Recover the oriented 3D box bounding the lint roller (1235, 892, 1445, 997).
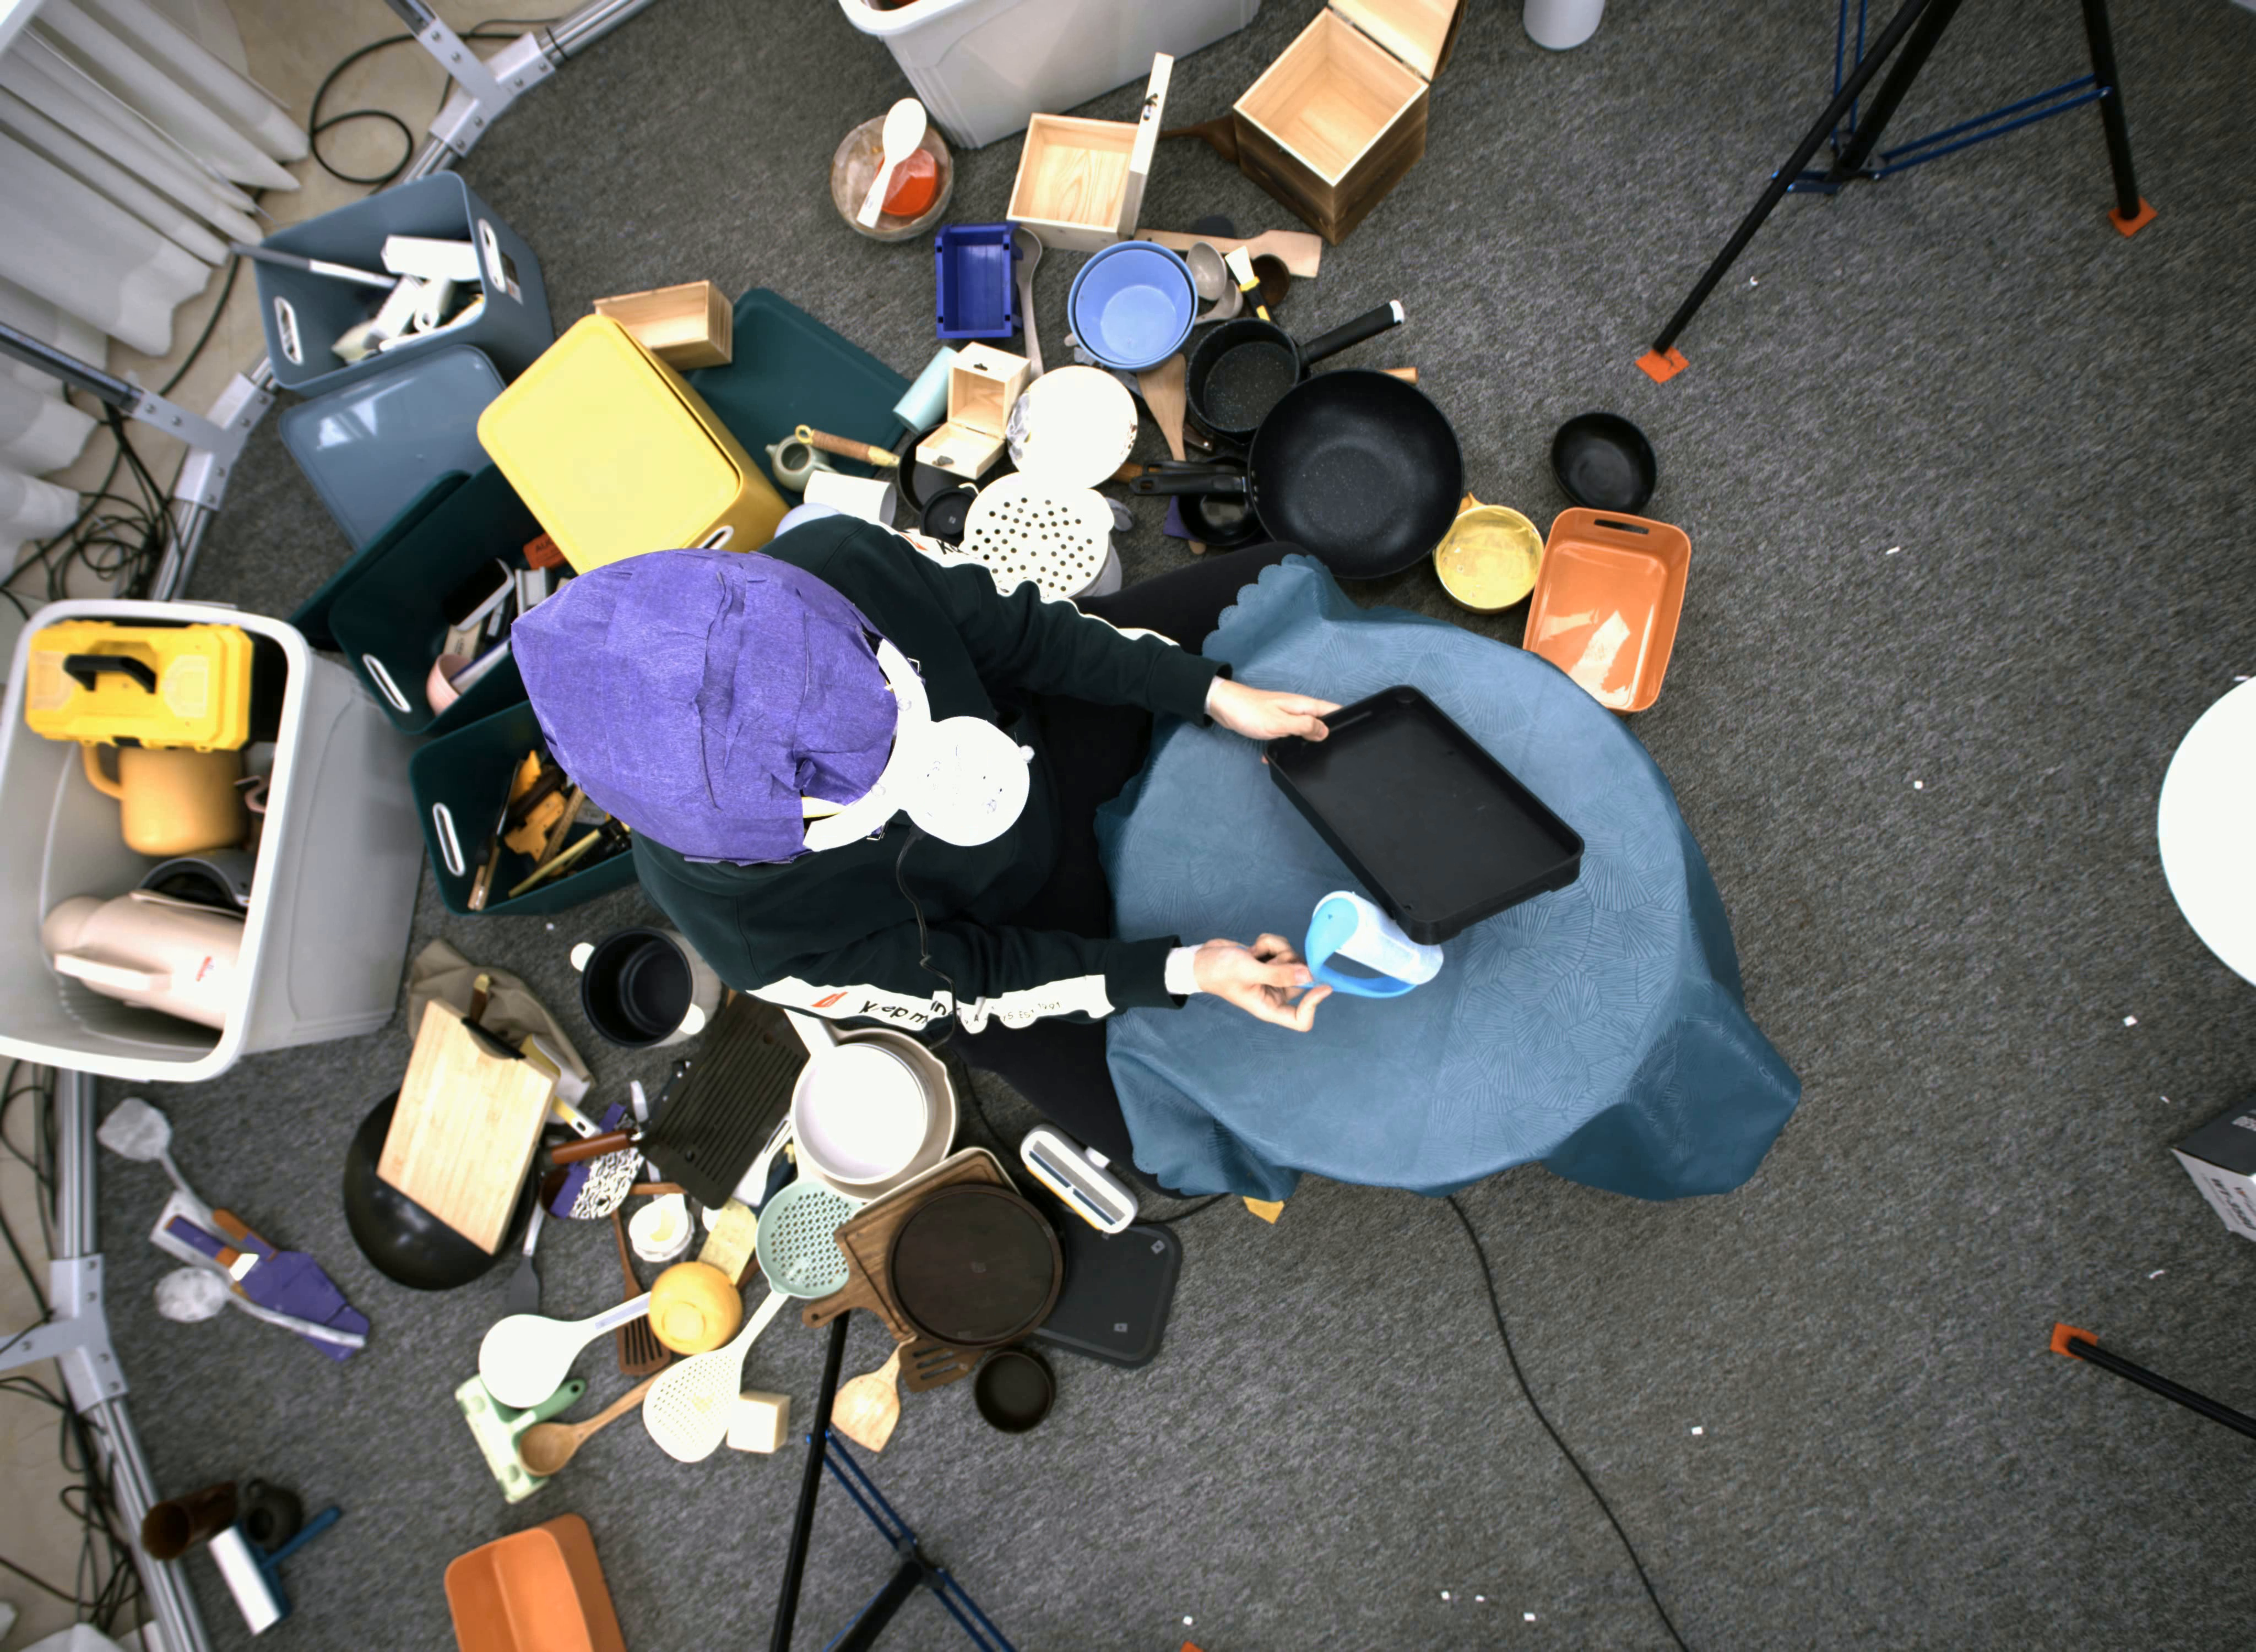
[{"bbox_3d":[0.187,0.124,1.317,0.183,0.229,0.067,-19,67,31],"label":"lint roller"}]

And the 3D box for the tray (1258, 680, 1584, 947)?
[{"bbox_3d":[0.275,-0.023,1.335,0.183,0.038,0.312,-26,44,-10],"label":"tray"}]
